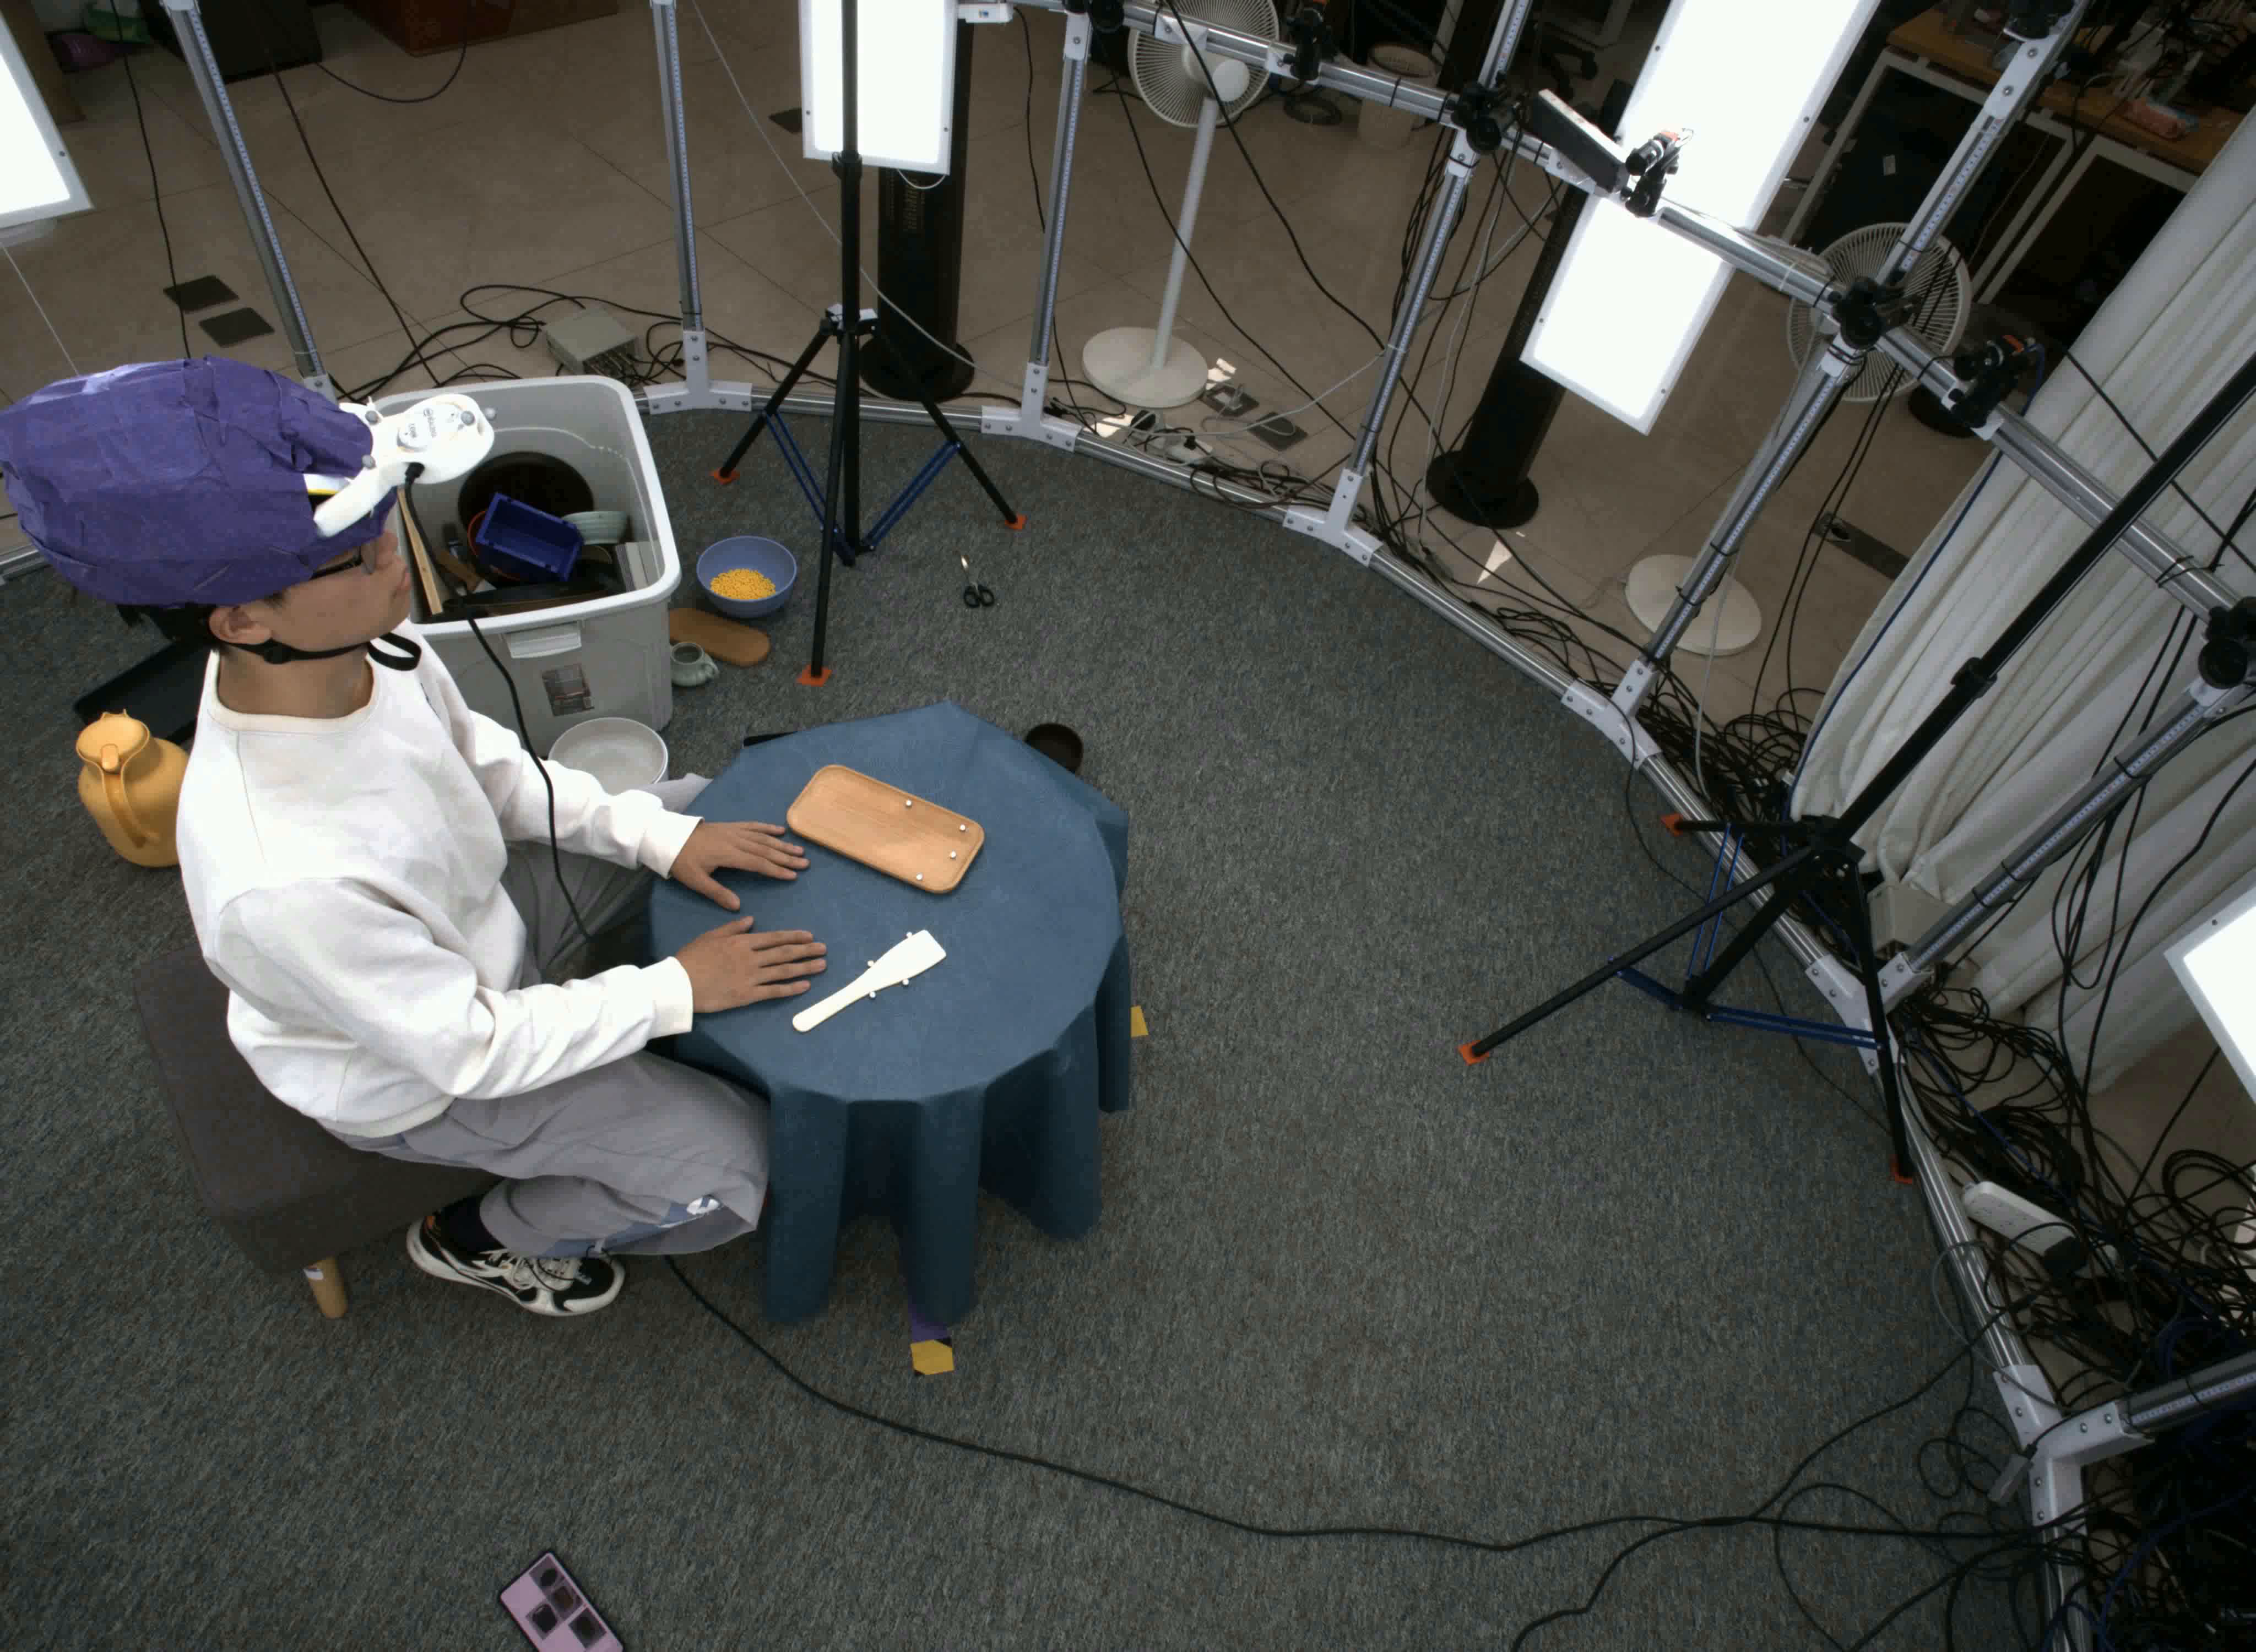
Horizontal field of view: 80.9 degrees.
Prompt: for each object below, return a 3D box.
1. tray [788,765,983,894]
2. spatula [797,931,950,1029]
[{"bbox_3d":[-0.324,0.003,1.745,0.247,0.023,0.129,23,50,5],"label":"tray"},{"bbox_3d":[-0.318,0.191,1.613,0.208,0.005,0.049,-30,64,-31],"label":"spatula"}]
